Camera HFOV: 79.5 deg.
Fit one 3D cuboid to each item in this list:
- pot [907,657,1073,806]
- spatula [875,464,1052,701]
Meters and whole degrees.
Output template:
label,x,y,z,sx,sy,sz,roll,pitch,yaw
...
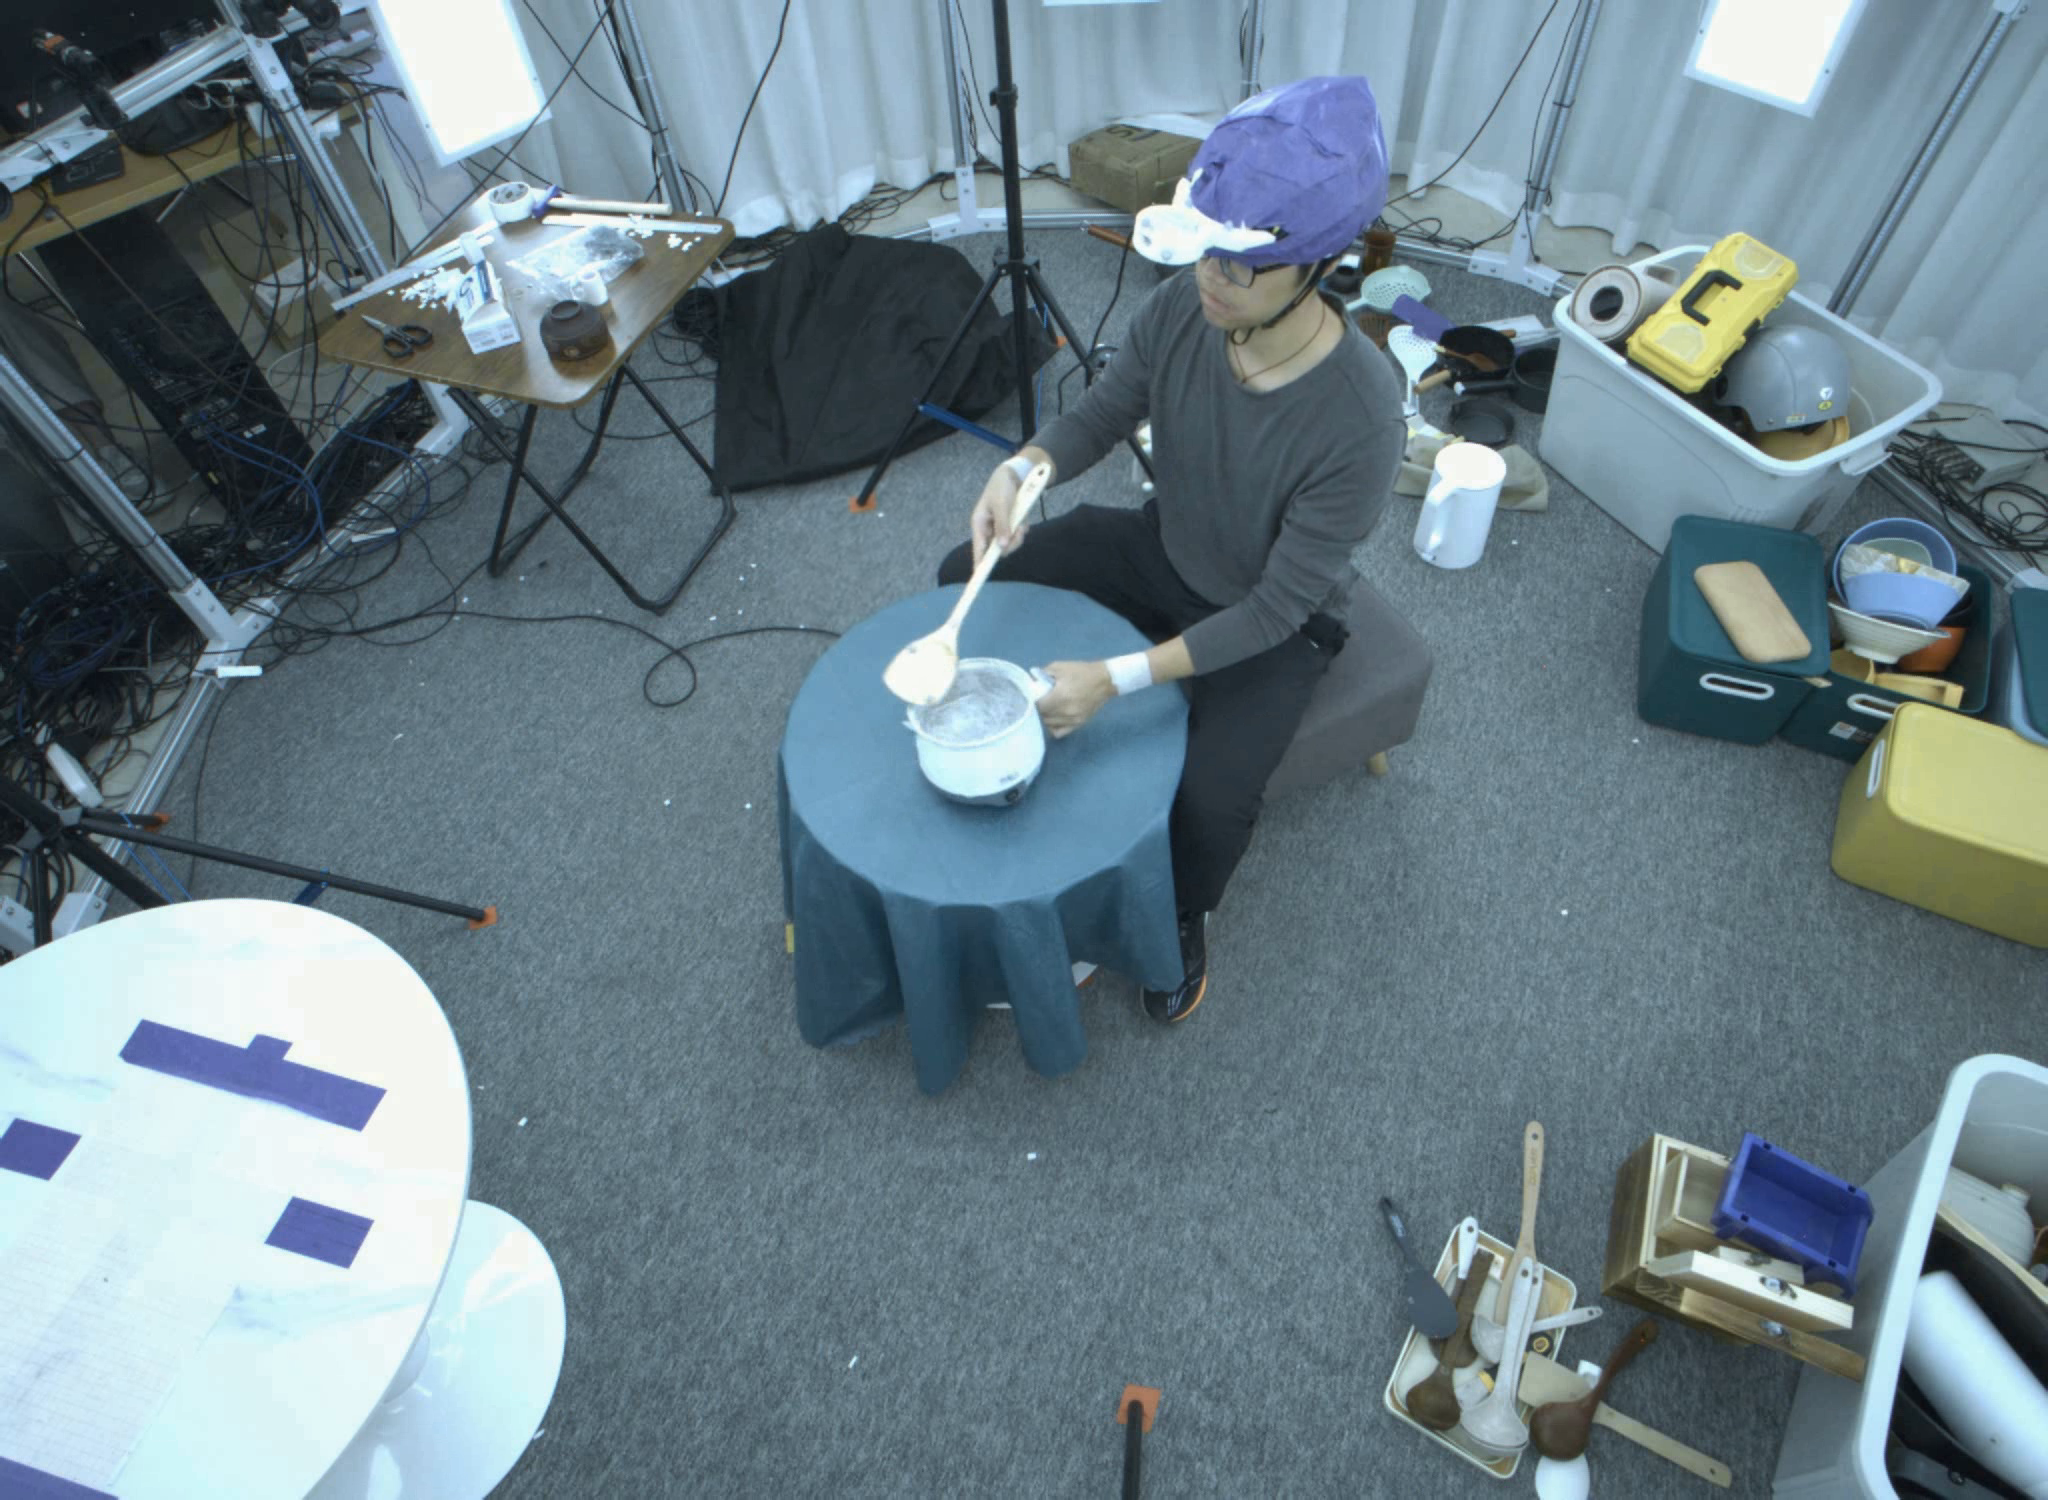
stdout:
label,x,y,z,sx,sy,sz,roll,pitch,yaw
pot,-0.040,-0.035,1.726,0.235,0.138,0.175,-27,50,-17
spatula,-0.073,-0.240,1.699,0.094,0.019,0.391,29,83,16
